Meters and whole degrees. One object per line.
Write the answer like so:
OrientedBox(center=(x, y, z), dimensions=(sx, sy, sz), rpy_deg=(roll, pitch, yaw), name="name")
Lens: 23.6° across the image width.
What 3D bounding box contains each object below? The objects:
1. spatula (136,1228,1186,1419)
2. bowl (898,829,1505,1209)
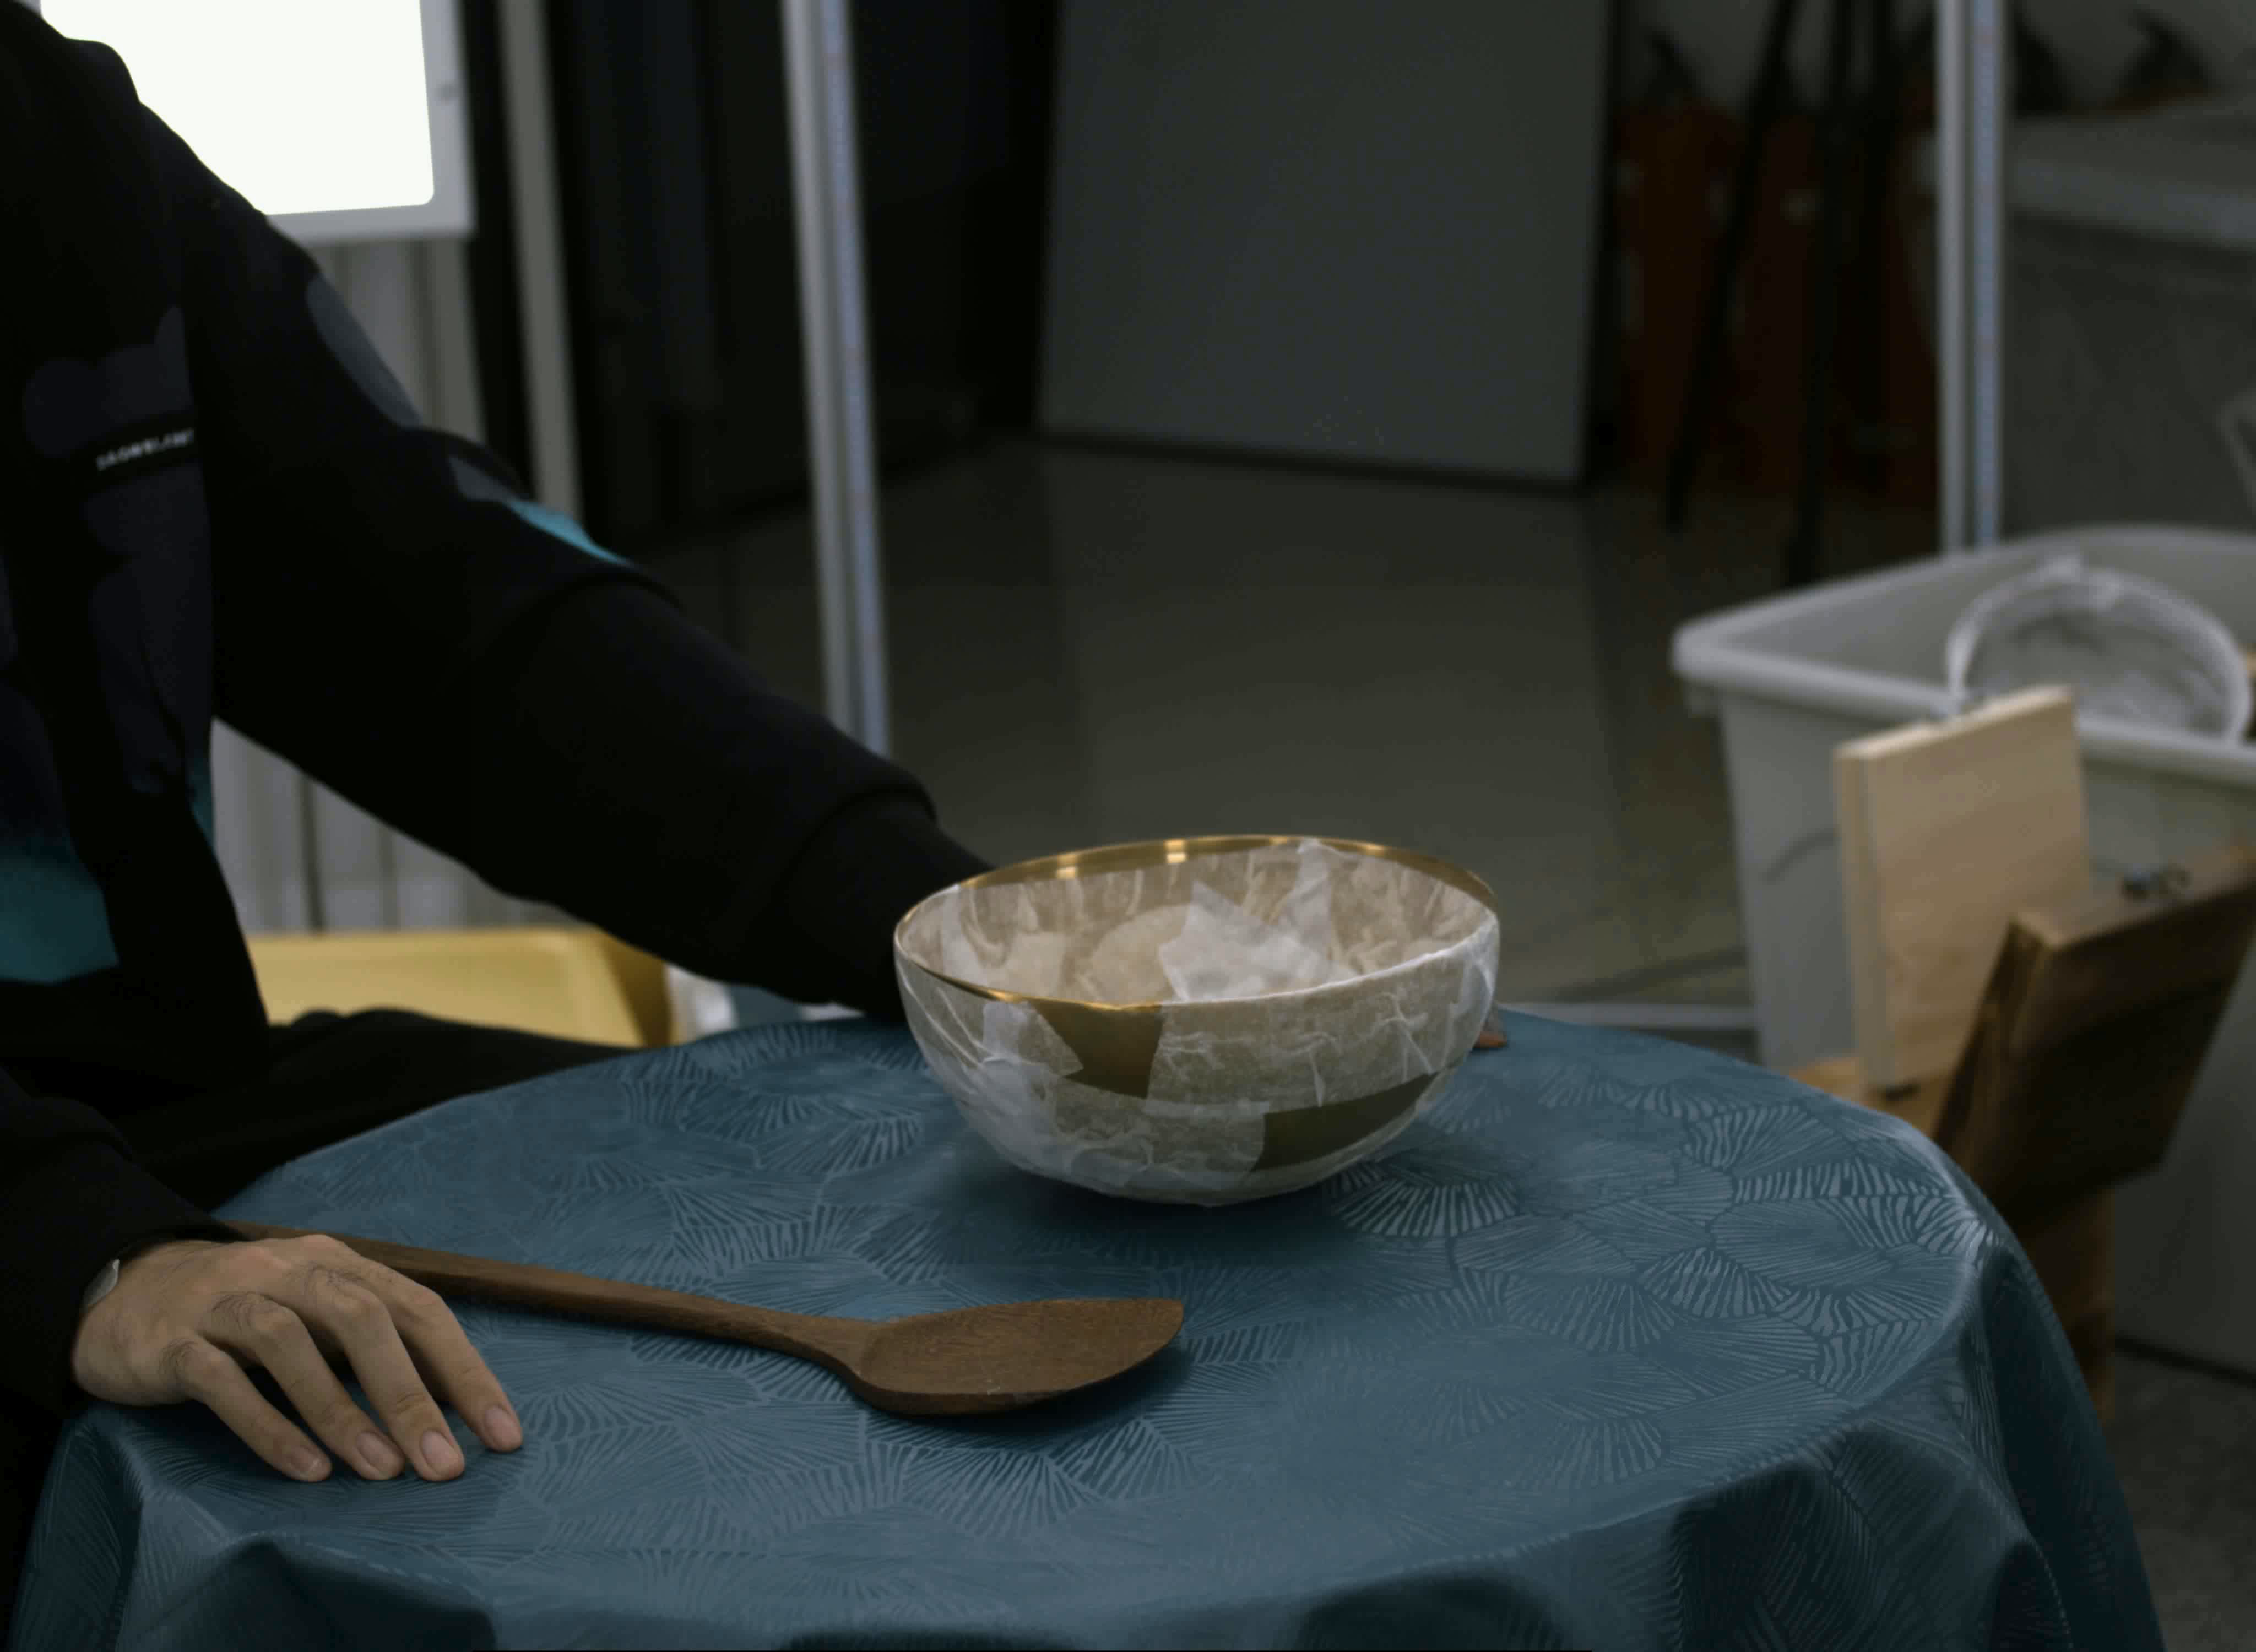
OrientedBox(center=(-0.158, 0.149, 1.677), dimensions=(0.387, 0.016, 0.094), rpy_deg=(4, 16, 32), name="spatula")
OrientedBox(center=(0.026, 0.070, 1.774), dimensions=(0.212, 0.095, 0.215), rpy_deg=(-6, 14, 1), name="bowl")
